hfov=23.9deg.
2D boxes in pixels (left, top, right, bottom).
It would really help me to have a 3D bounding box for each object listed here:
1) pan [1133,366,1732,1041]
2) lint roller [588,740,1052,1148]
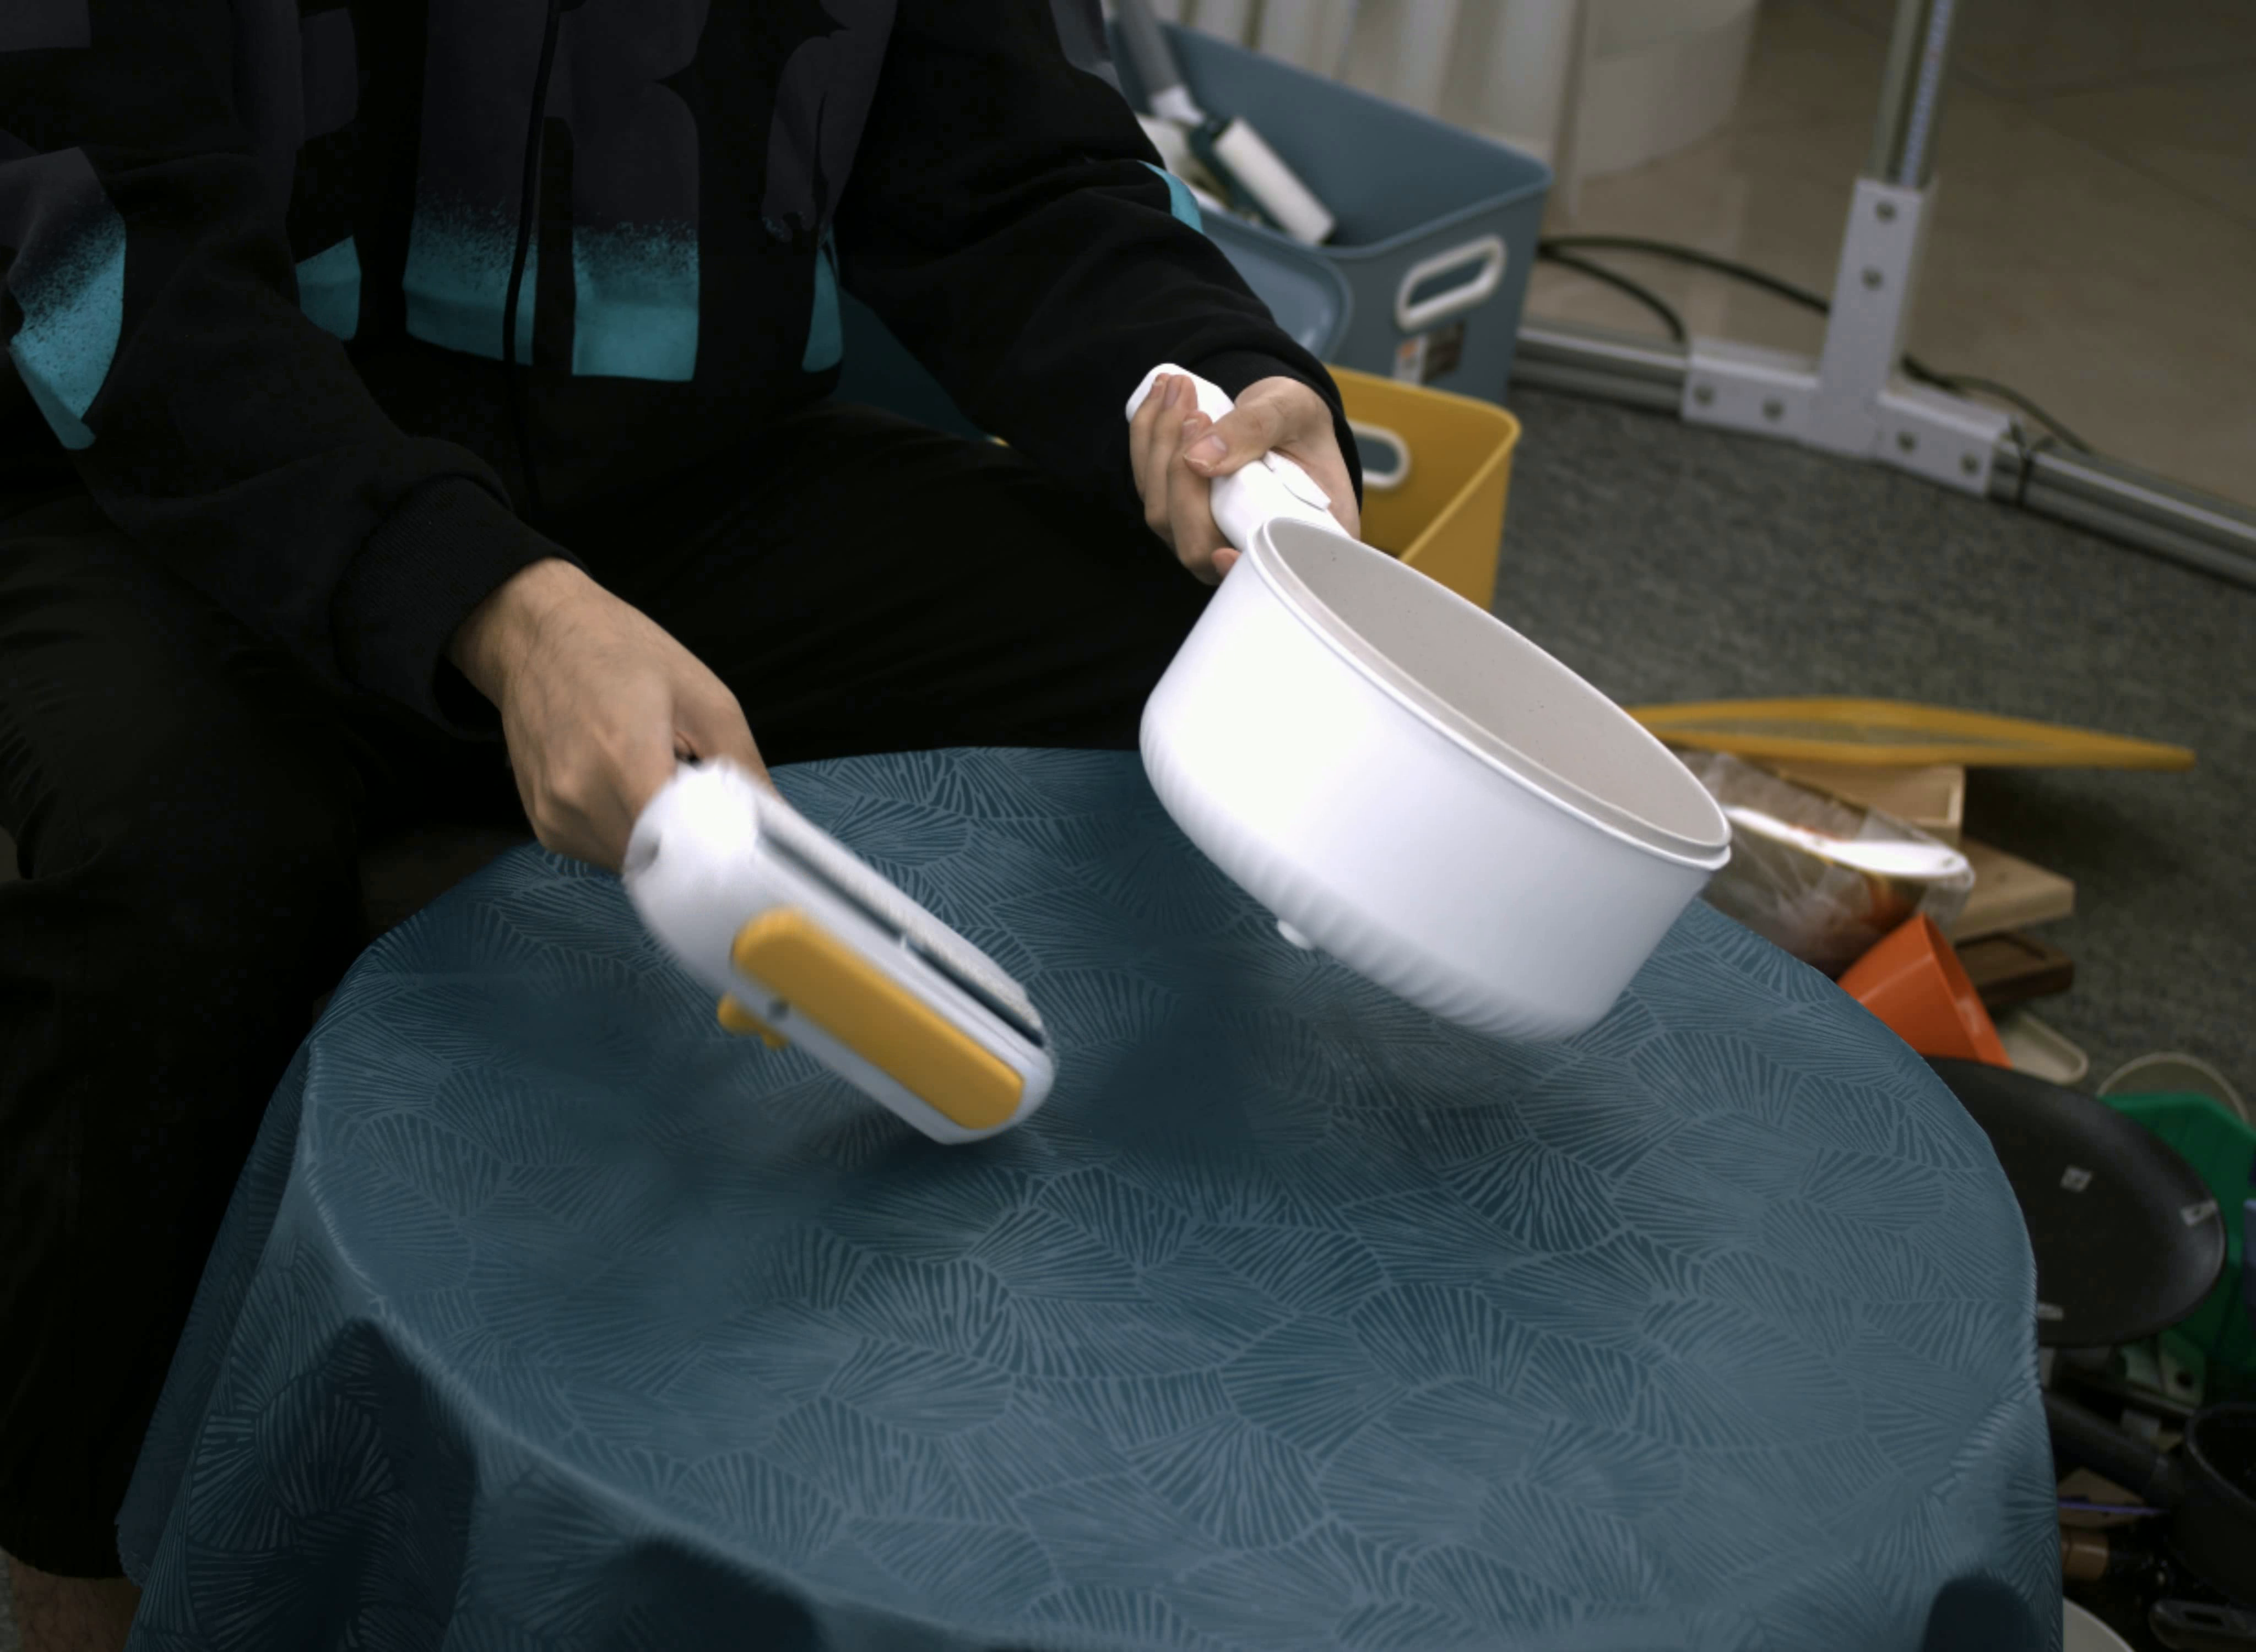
[{"bbox_3d":[0.070,-0.049,1.905,0.199,0.102,0.358,24,16,-35],"label":"pan"},{"bbox_3d":[-0.126,0.018,1.802,0.191,0.074,0.194,30,18,-39],"label":"lint roller"}]
